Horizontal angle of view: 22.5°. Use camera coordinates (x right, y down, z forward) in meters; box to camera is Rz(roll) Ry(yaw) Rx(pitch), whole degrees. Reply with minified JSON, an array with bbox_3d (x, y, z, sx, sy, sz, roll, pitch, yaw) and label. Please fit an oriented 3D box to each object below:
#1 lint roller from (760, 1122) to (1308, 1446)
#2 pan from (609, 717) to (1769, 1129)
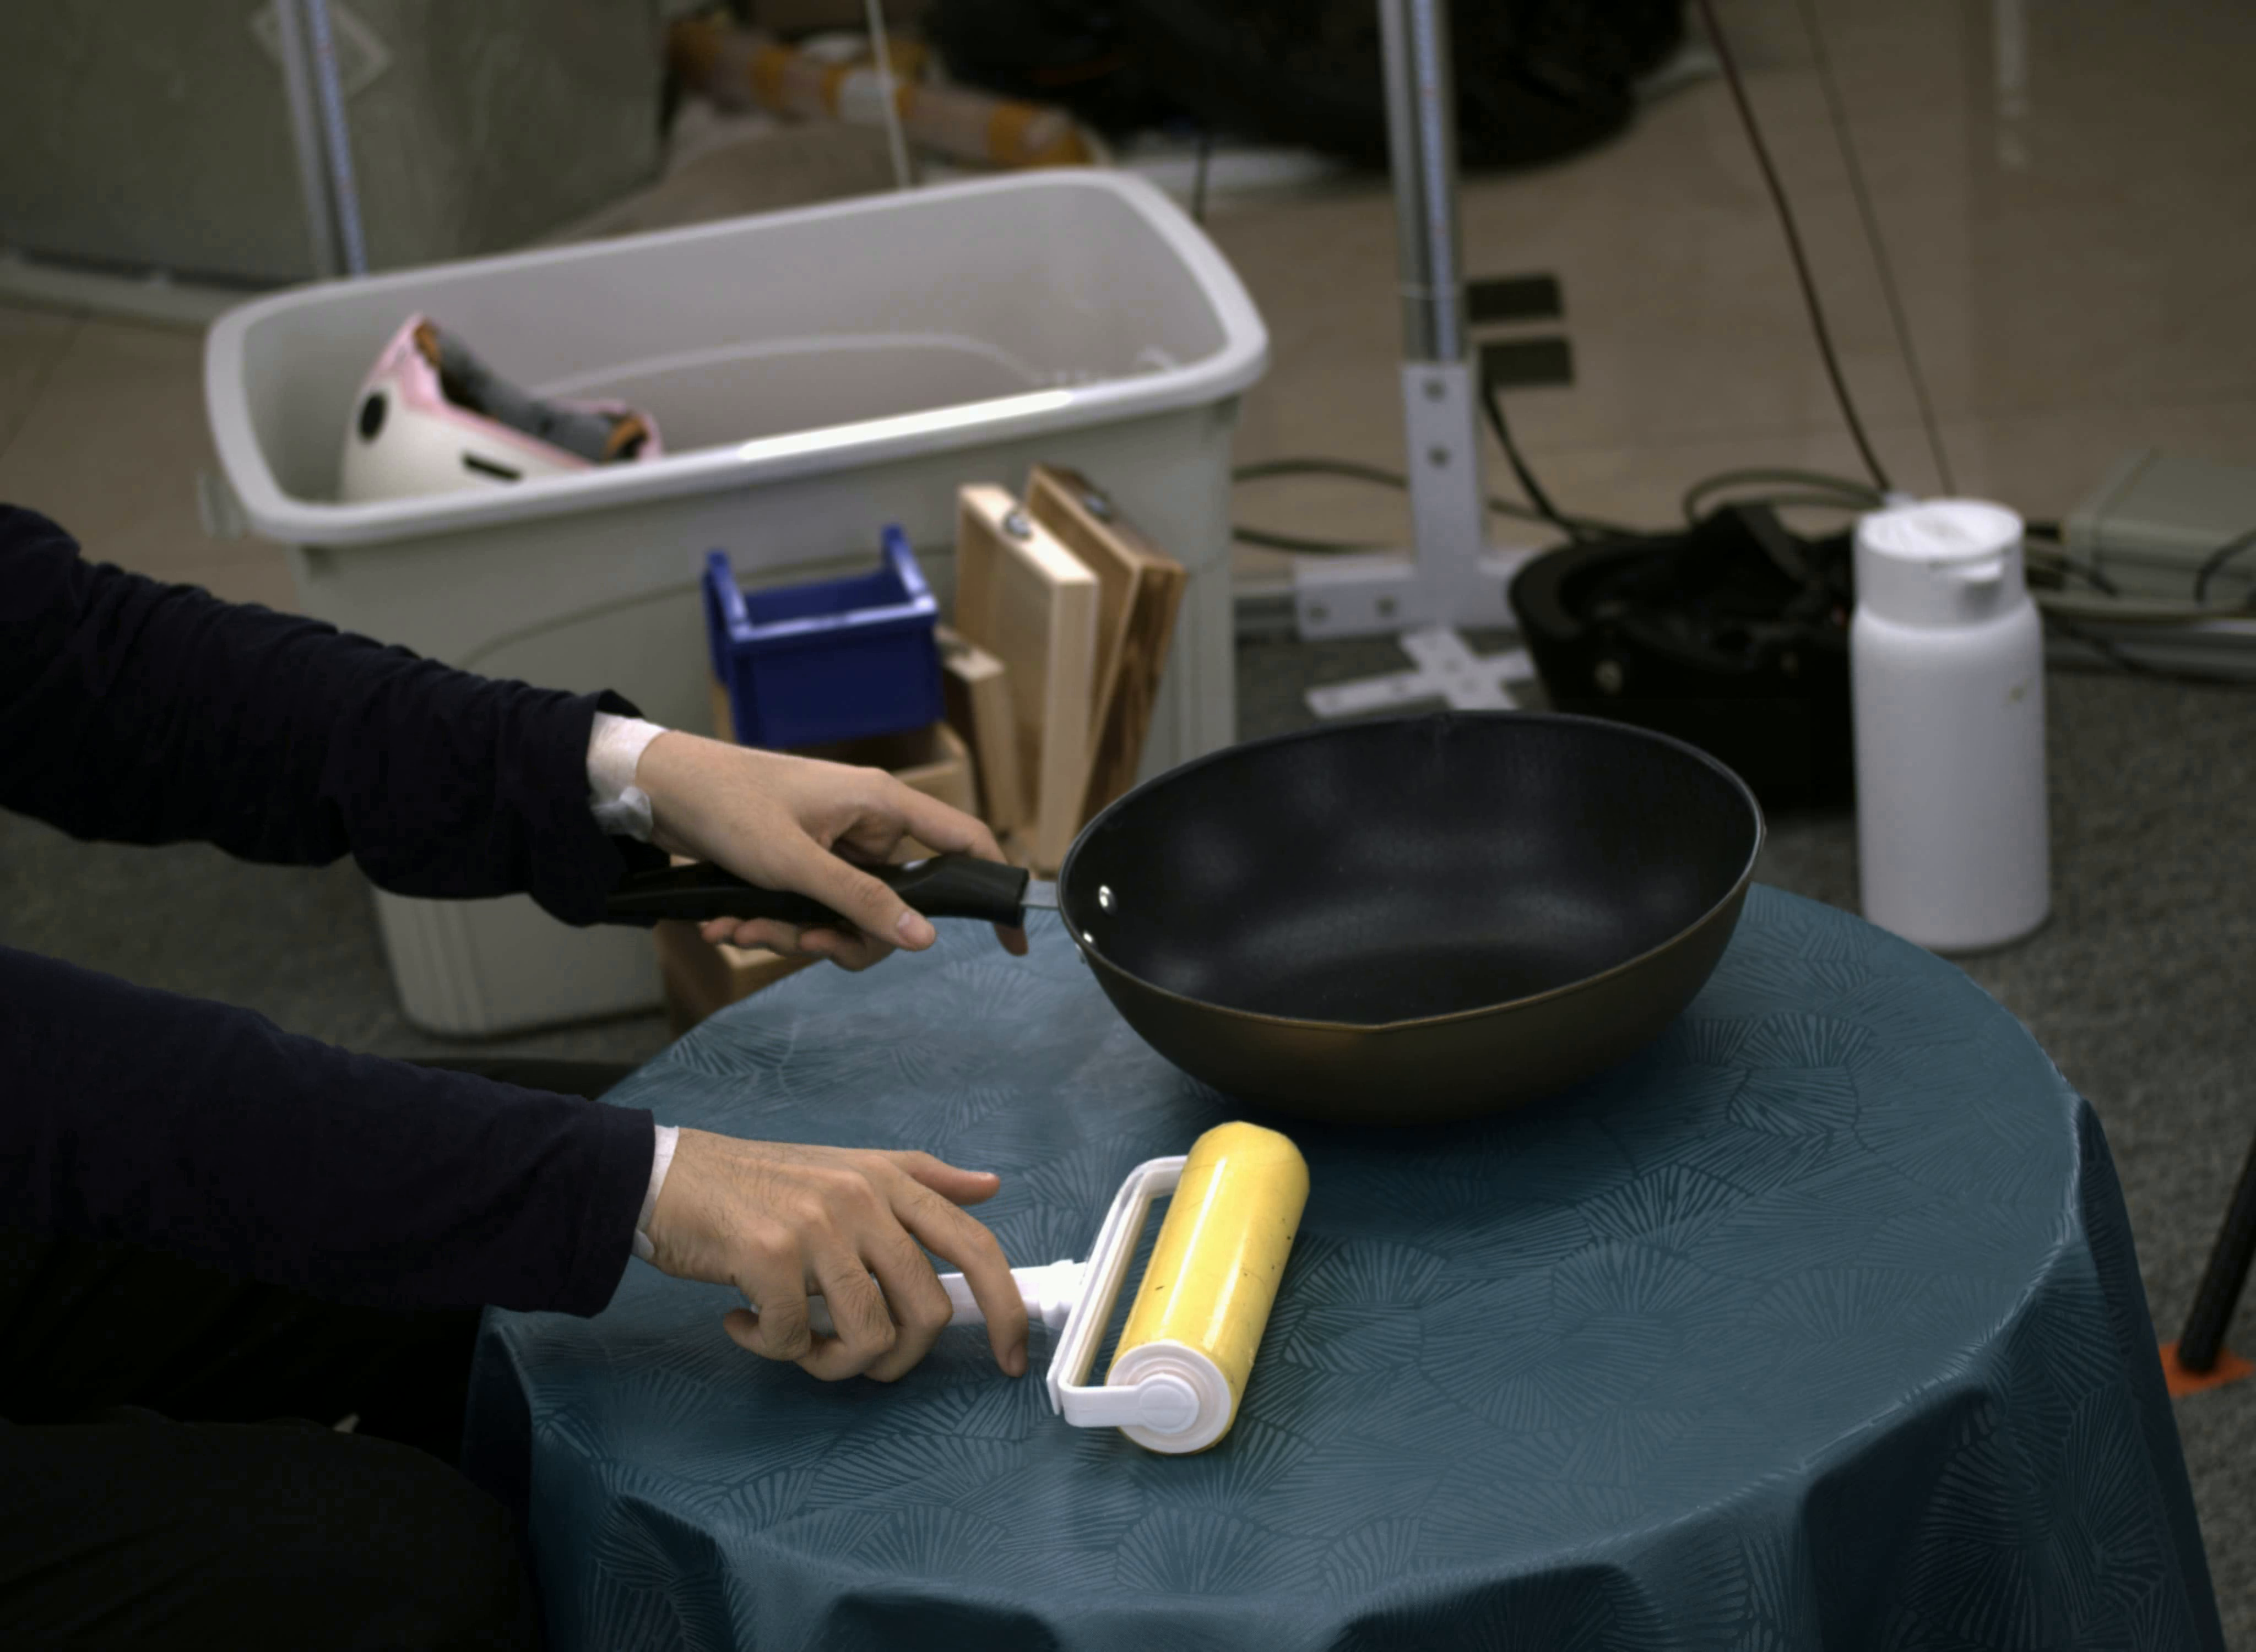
[{"bbox_3d":[-0.041,0.163,2.045,0.191,0.052,0.172,1,25,10],"label":"lint roller"},{"bbox_3d":[0.023,0.050,2.239,0.462,0.088,0.284,-2,24,10],"label":"pan"}]
